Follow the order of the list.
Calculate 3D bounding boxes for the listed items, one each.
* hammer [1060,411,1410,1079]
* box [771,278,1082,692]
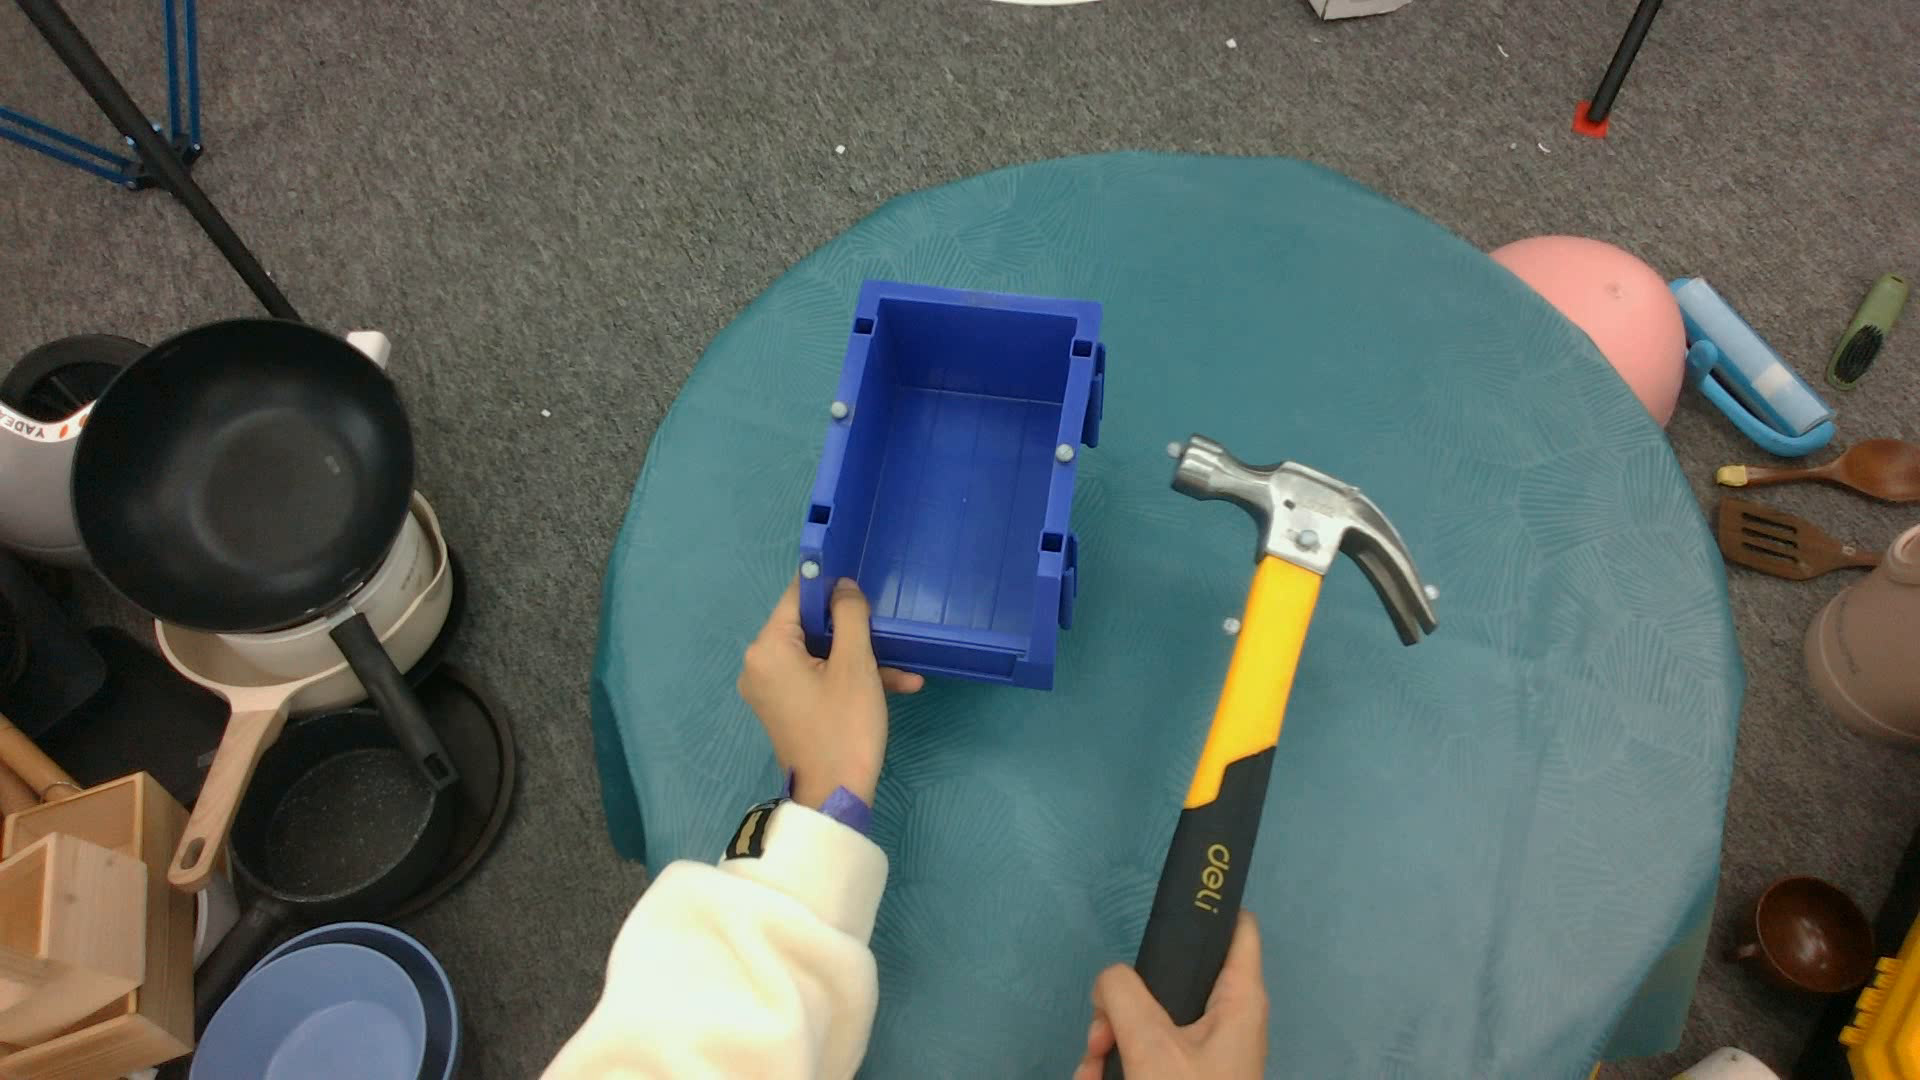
[{"bbox_3d":[0.103,0.107,0.594,0.131,0.032,0.340,23,67,0],"label":"hammer"},{"bbox_3d":[-0.012,-0.025,0.665,0.124,0.081,0.180,8,62,6],"label":"box"}]
